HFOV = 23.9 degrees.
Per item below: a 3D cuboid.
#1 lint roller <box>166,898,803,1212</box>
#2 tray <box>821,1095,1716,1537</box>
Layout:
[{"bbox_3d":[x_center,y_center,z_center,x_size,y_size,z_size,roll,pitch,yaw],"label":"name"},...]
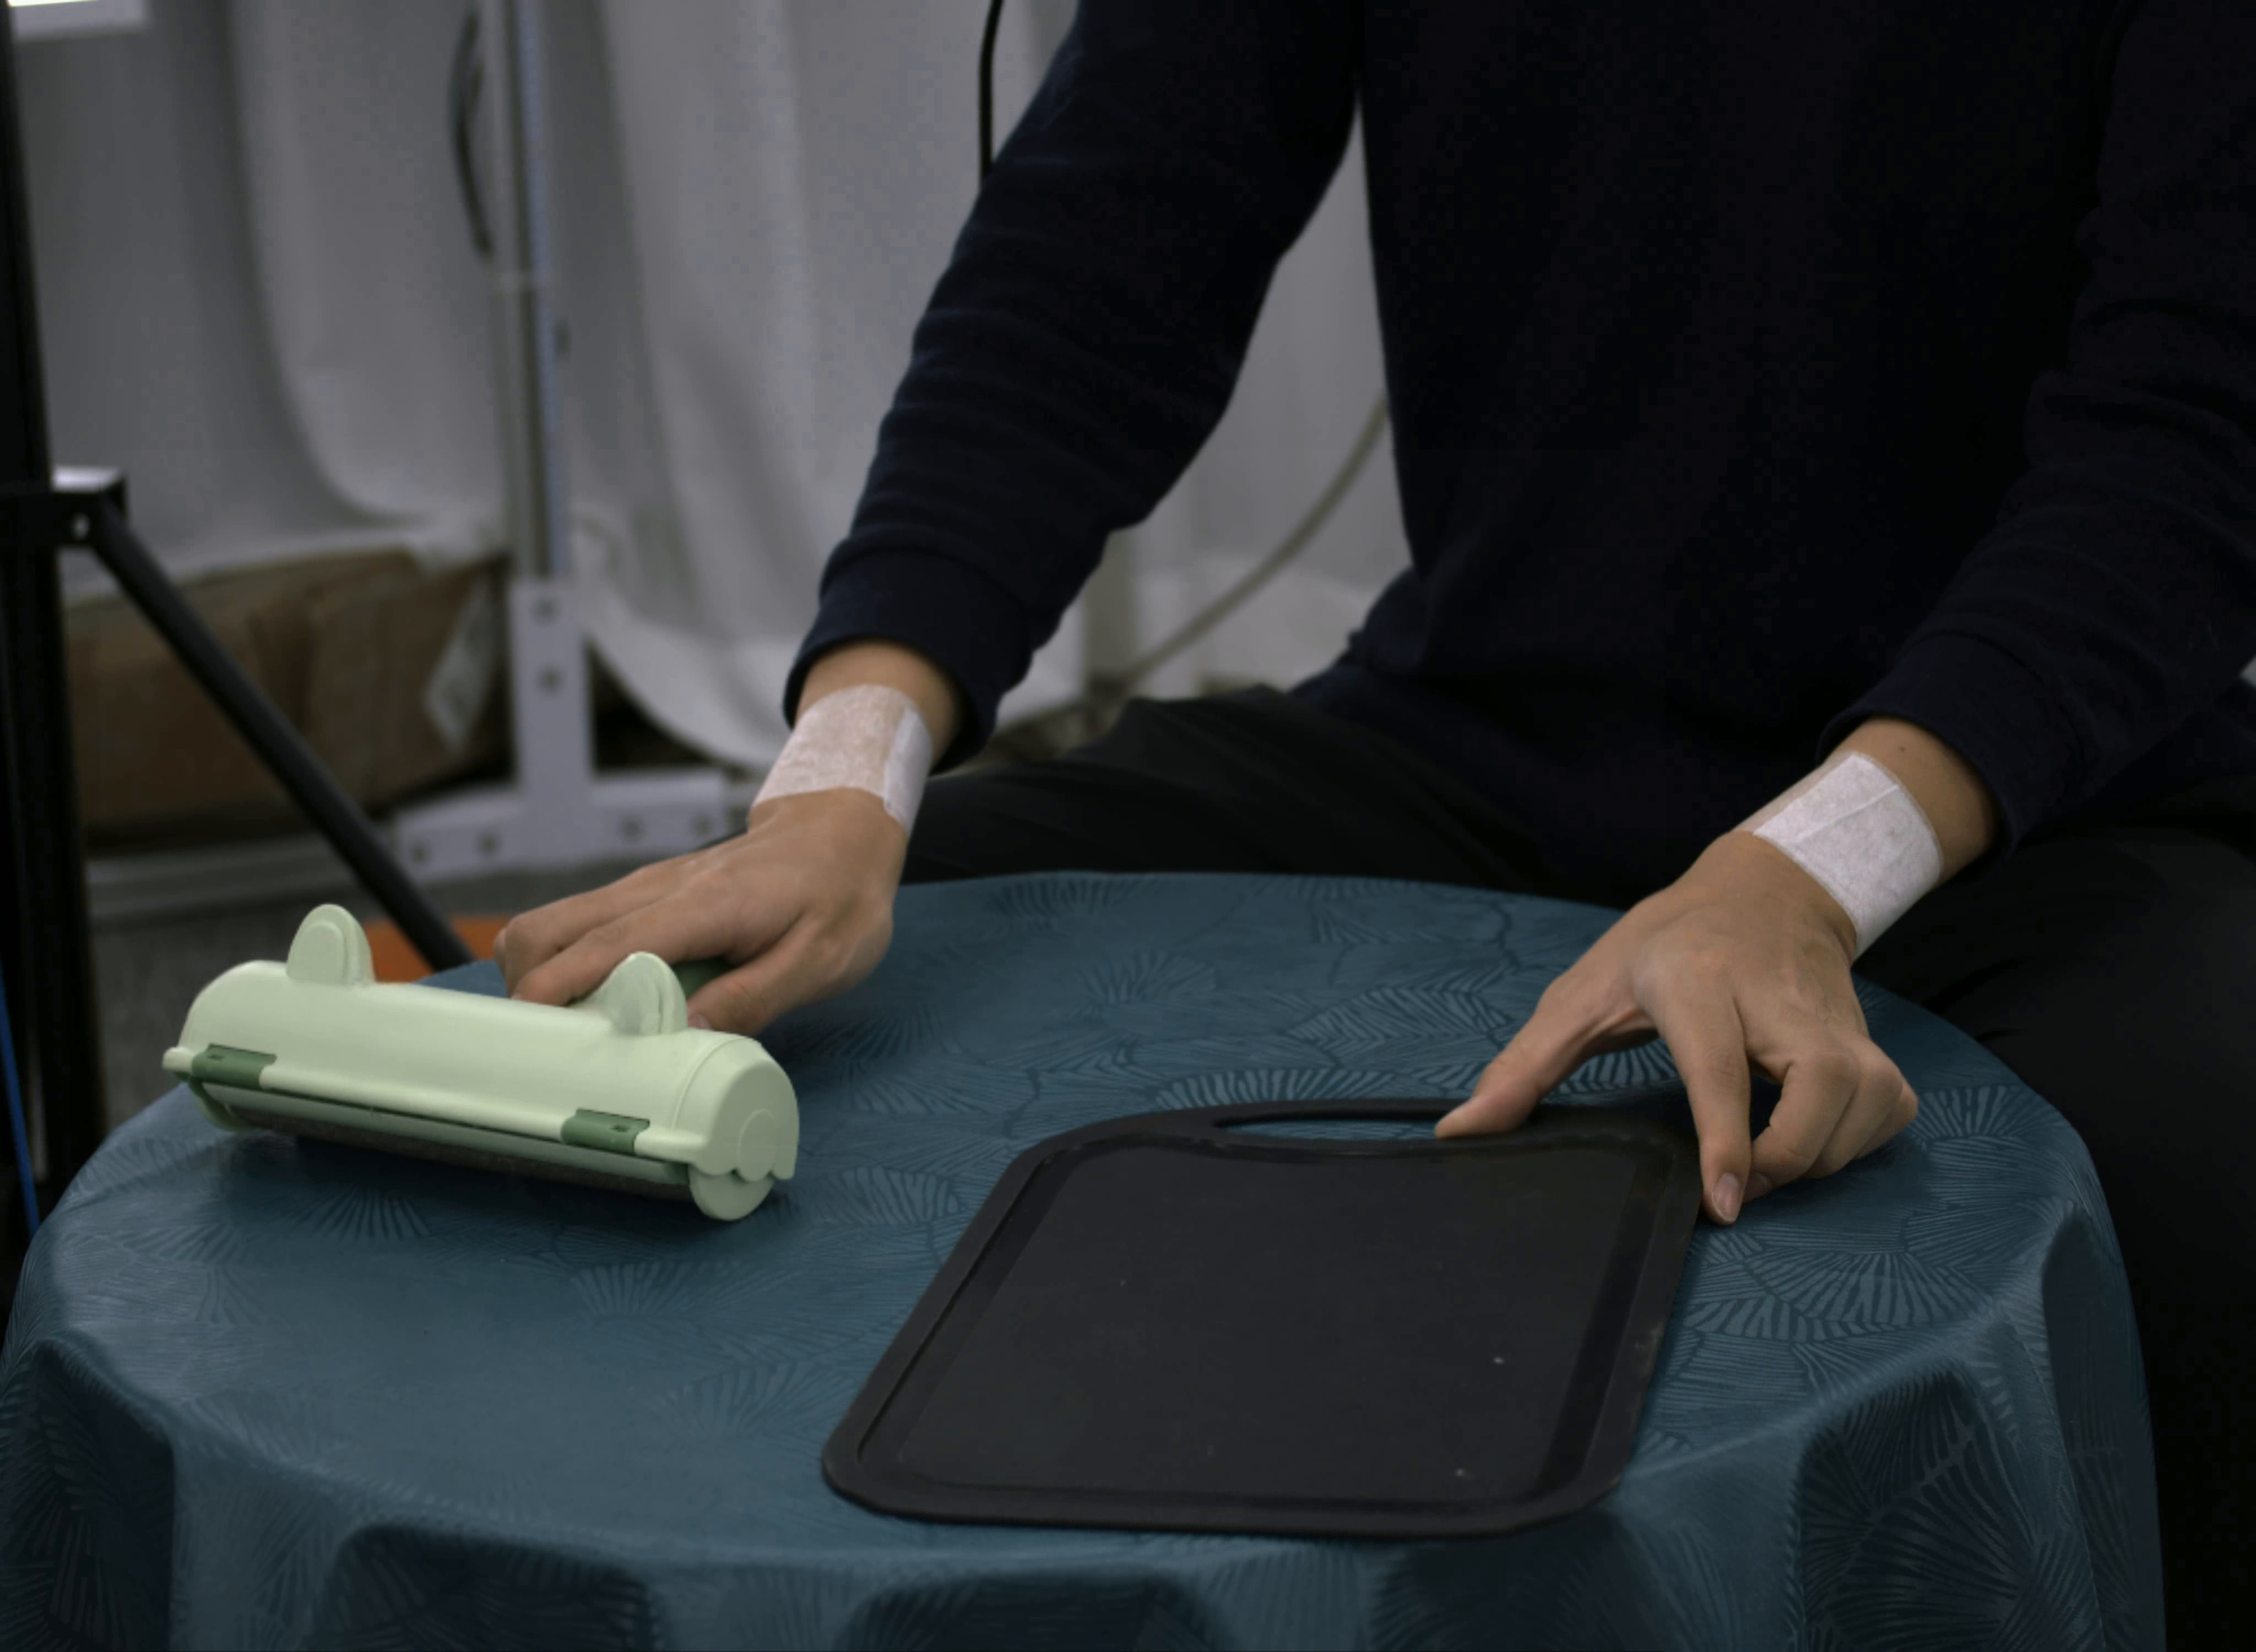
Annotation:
[{"bbox_3d":[-0.166,0.046,1.635,0.202,0.082,0.181,8,29,30],"label":"lint roller"},{"bbox_3d":[0.047,0.127,1.462,0.212,0.010,0.323,0,16,14],"label":"tray"}]
